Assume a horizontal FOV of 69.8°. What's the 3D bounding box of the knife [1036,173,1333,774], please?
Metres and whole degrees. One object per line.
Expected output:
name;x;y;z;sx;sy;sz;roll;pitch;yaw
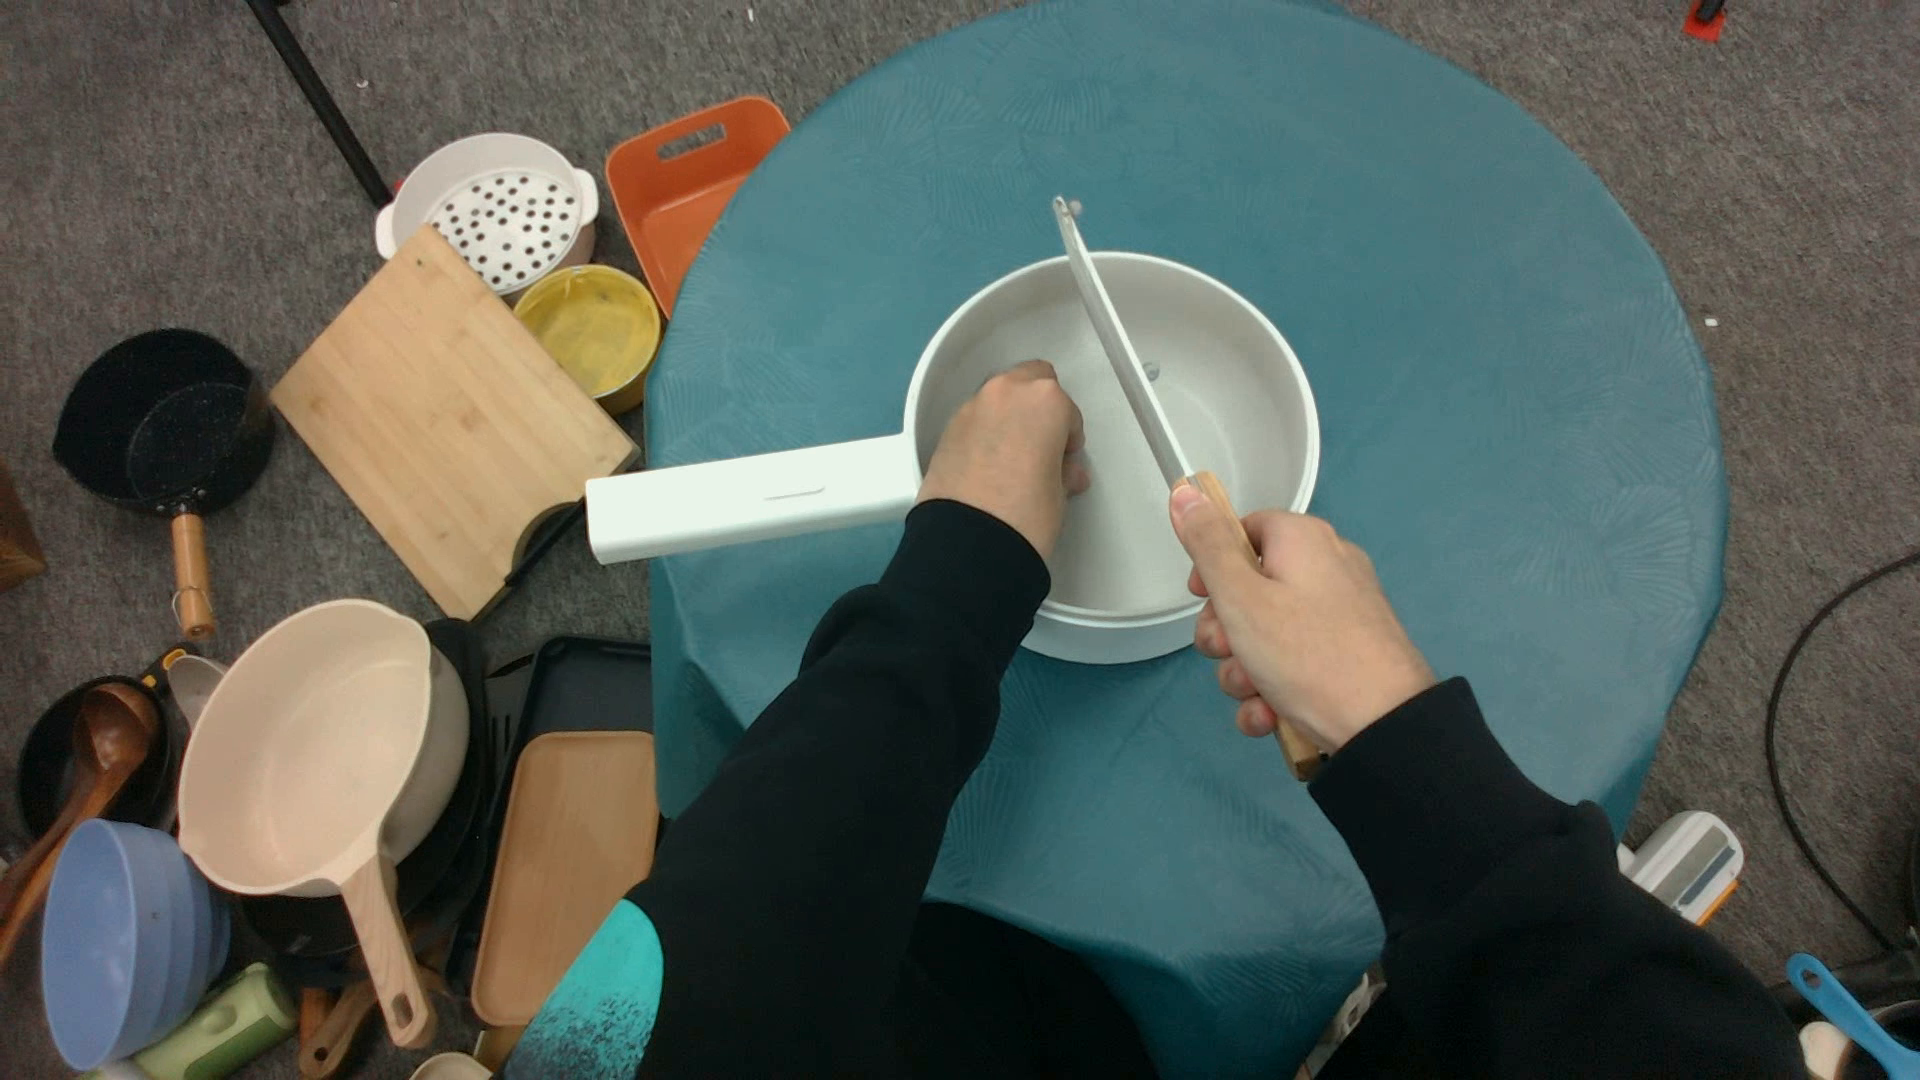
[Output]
knife;0.086;-0.039;0.597;0.022;0.113;0.316;-22;54;3

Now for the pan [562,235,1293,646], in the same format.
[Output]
pan;-0.014;-0.033;0.705;0.355;0.102;0.202;-9;70;-3
